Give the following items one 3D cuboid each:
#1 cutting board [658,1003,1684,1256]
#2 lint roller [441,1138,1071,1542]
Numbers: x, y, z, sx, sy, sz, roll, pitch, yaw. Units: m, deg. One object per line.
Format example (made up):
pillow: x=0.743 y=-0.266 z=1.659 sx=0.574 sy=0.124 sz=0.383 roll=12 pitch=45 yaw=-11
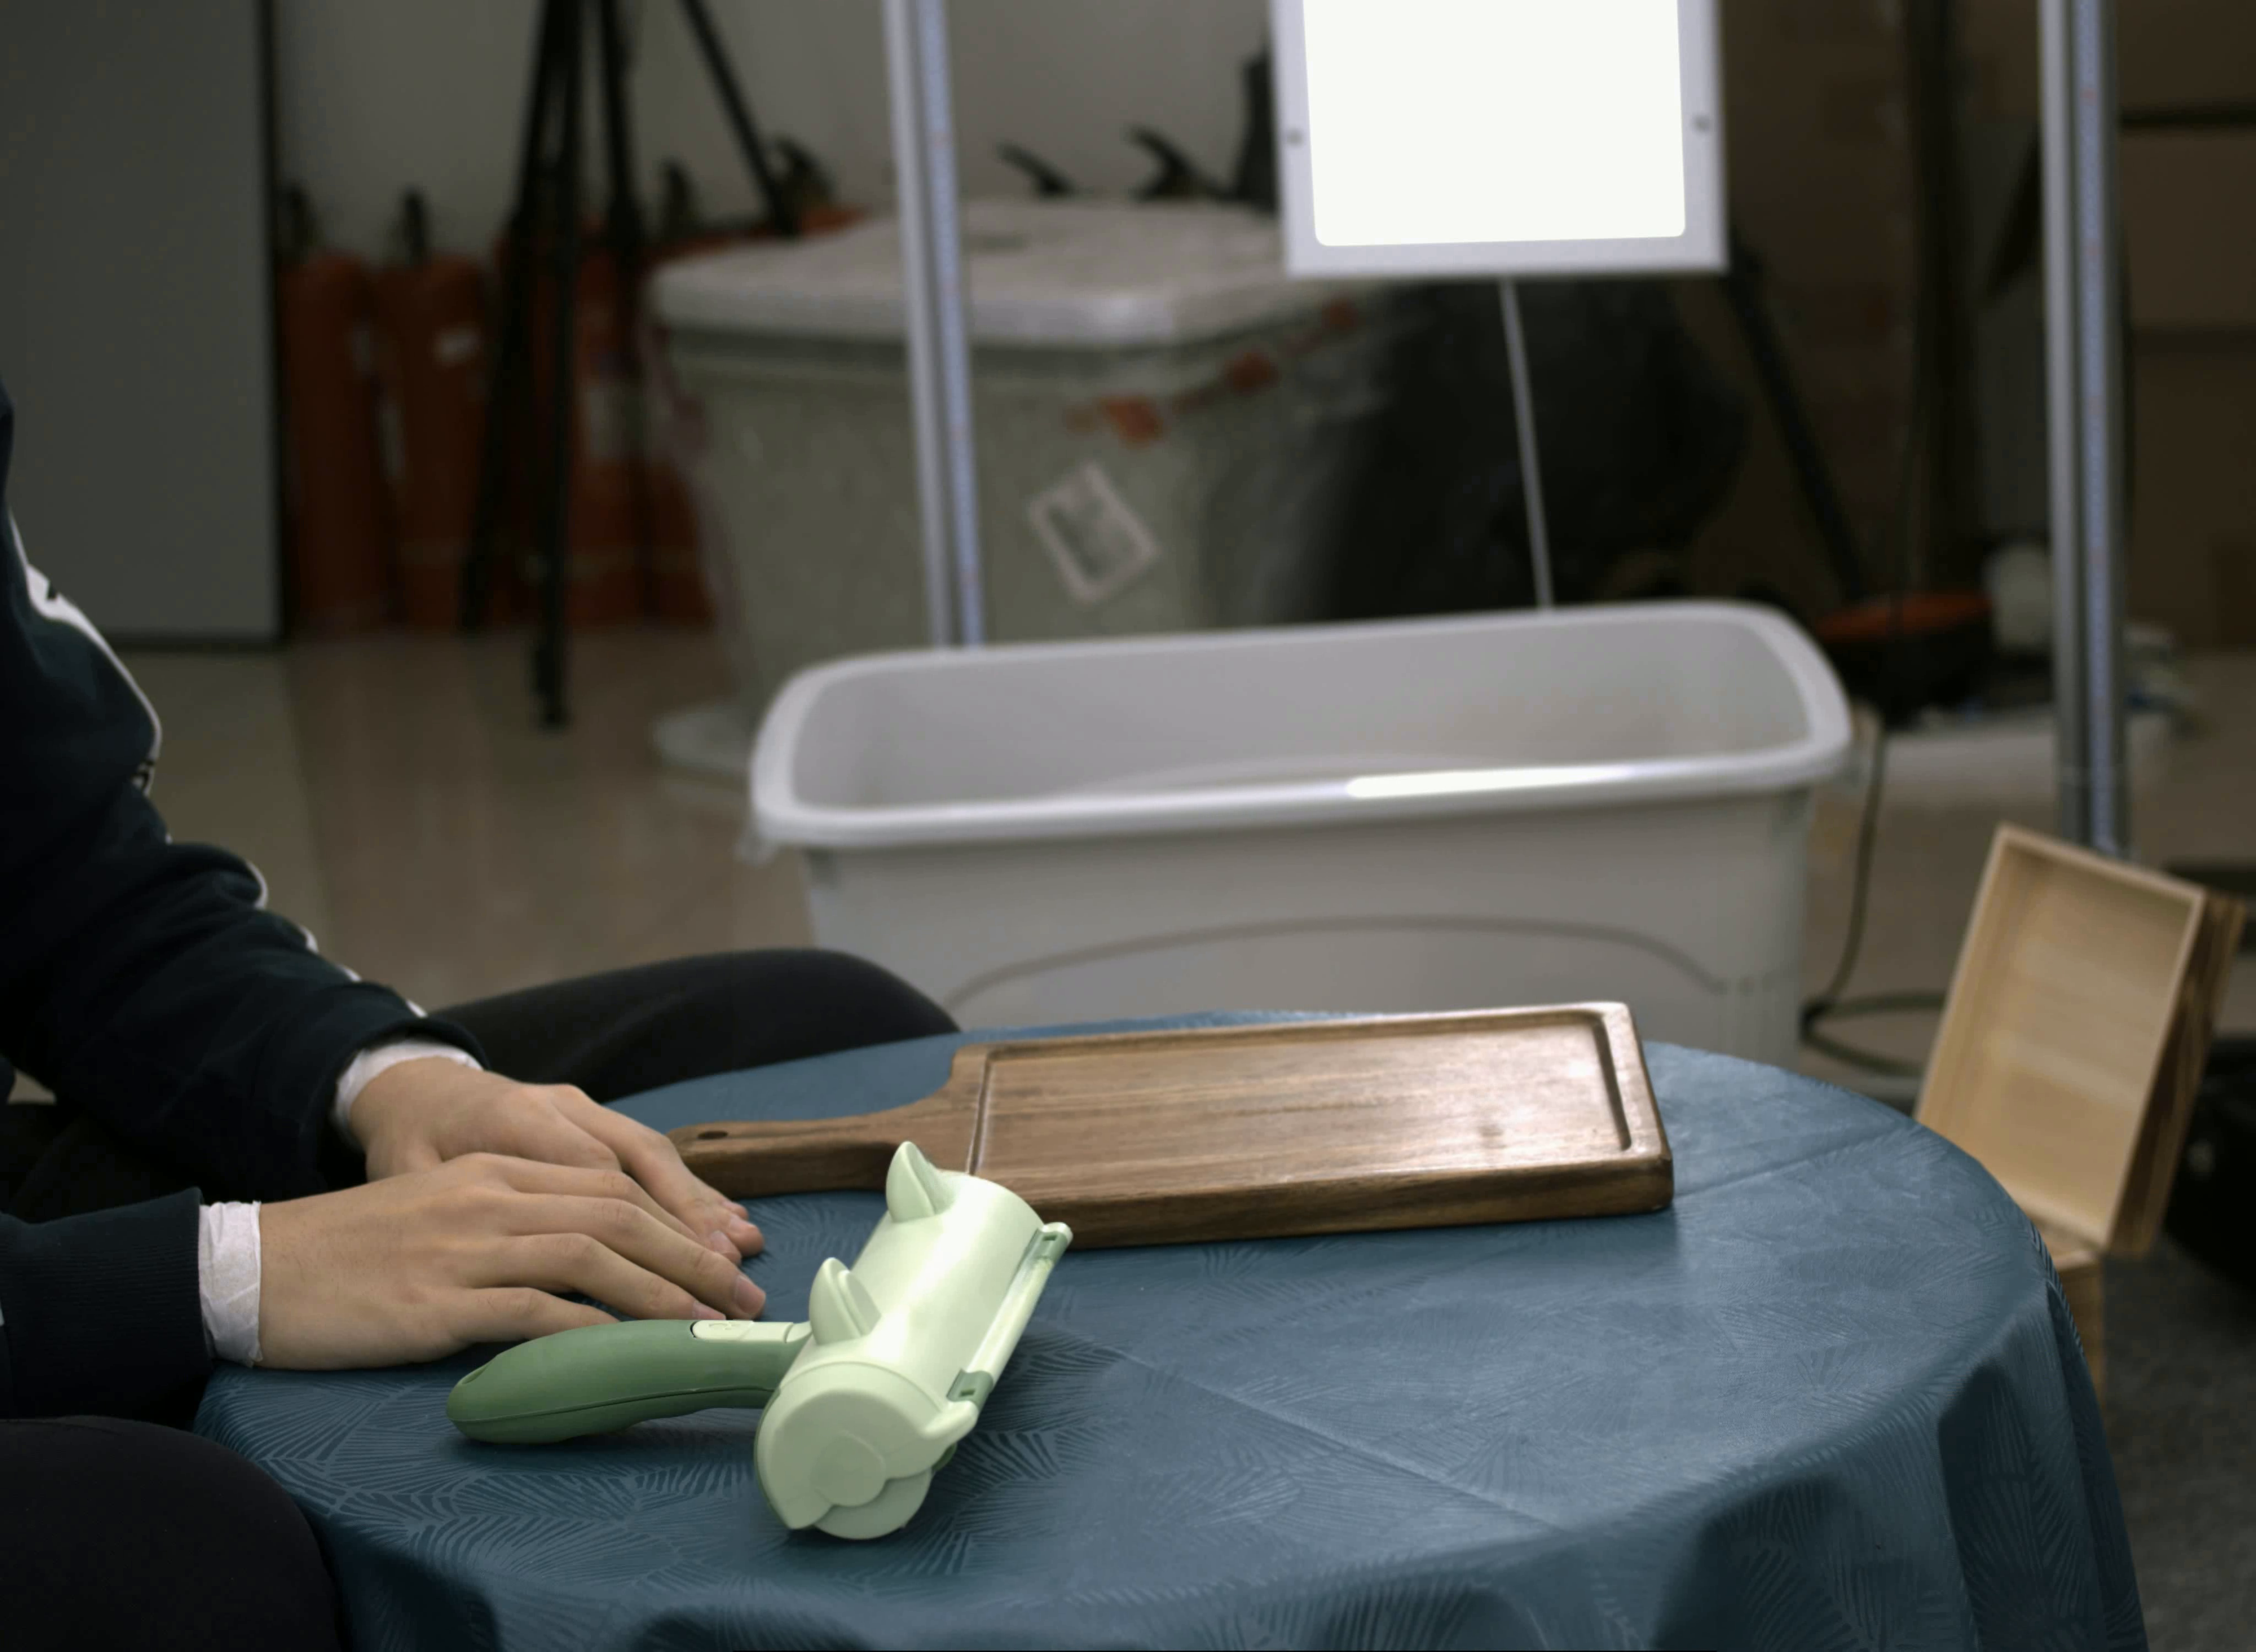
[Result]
cutting board: x=0.011 y=0.108 z=1.924 sx=0.352 sy=0.023 sz=0.200 roll=-5 pitch=14 yaw=3
lint roller: x=-0.122 y=0.150 z=1.682 sx=0.184 sy=0.082 sz=0.196 roll=2 pitch=15 yaw=10
